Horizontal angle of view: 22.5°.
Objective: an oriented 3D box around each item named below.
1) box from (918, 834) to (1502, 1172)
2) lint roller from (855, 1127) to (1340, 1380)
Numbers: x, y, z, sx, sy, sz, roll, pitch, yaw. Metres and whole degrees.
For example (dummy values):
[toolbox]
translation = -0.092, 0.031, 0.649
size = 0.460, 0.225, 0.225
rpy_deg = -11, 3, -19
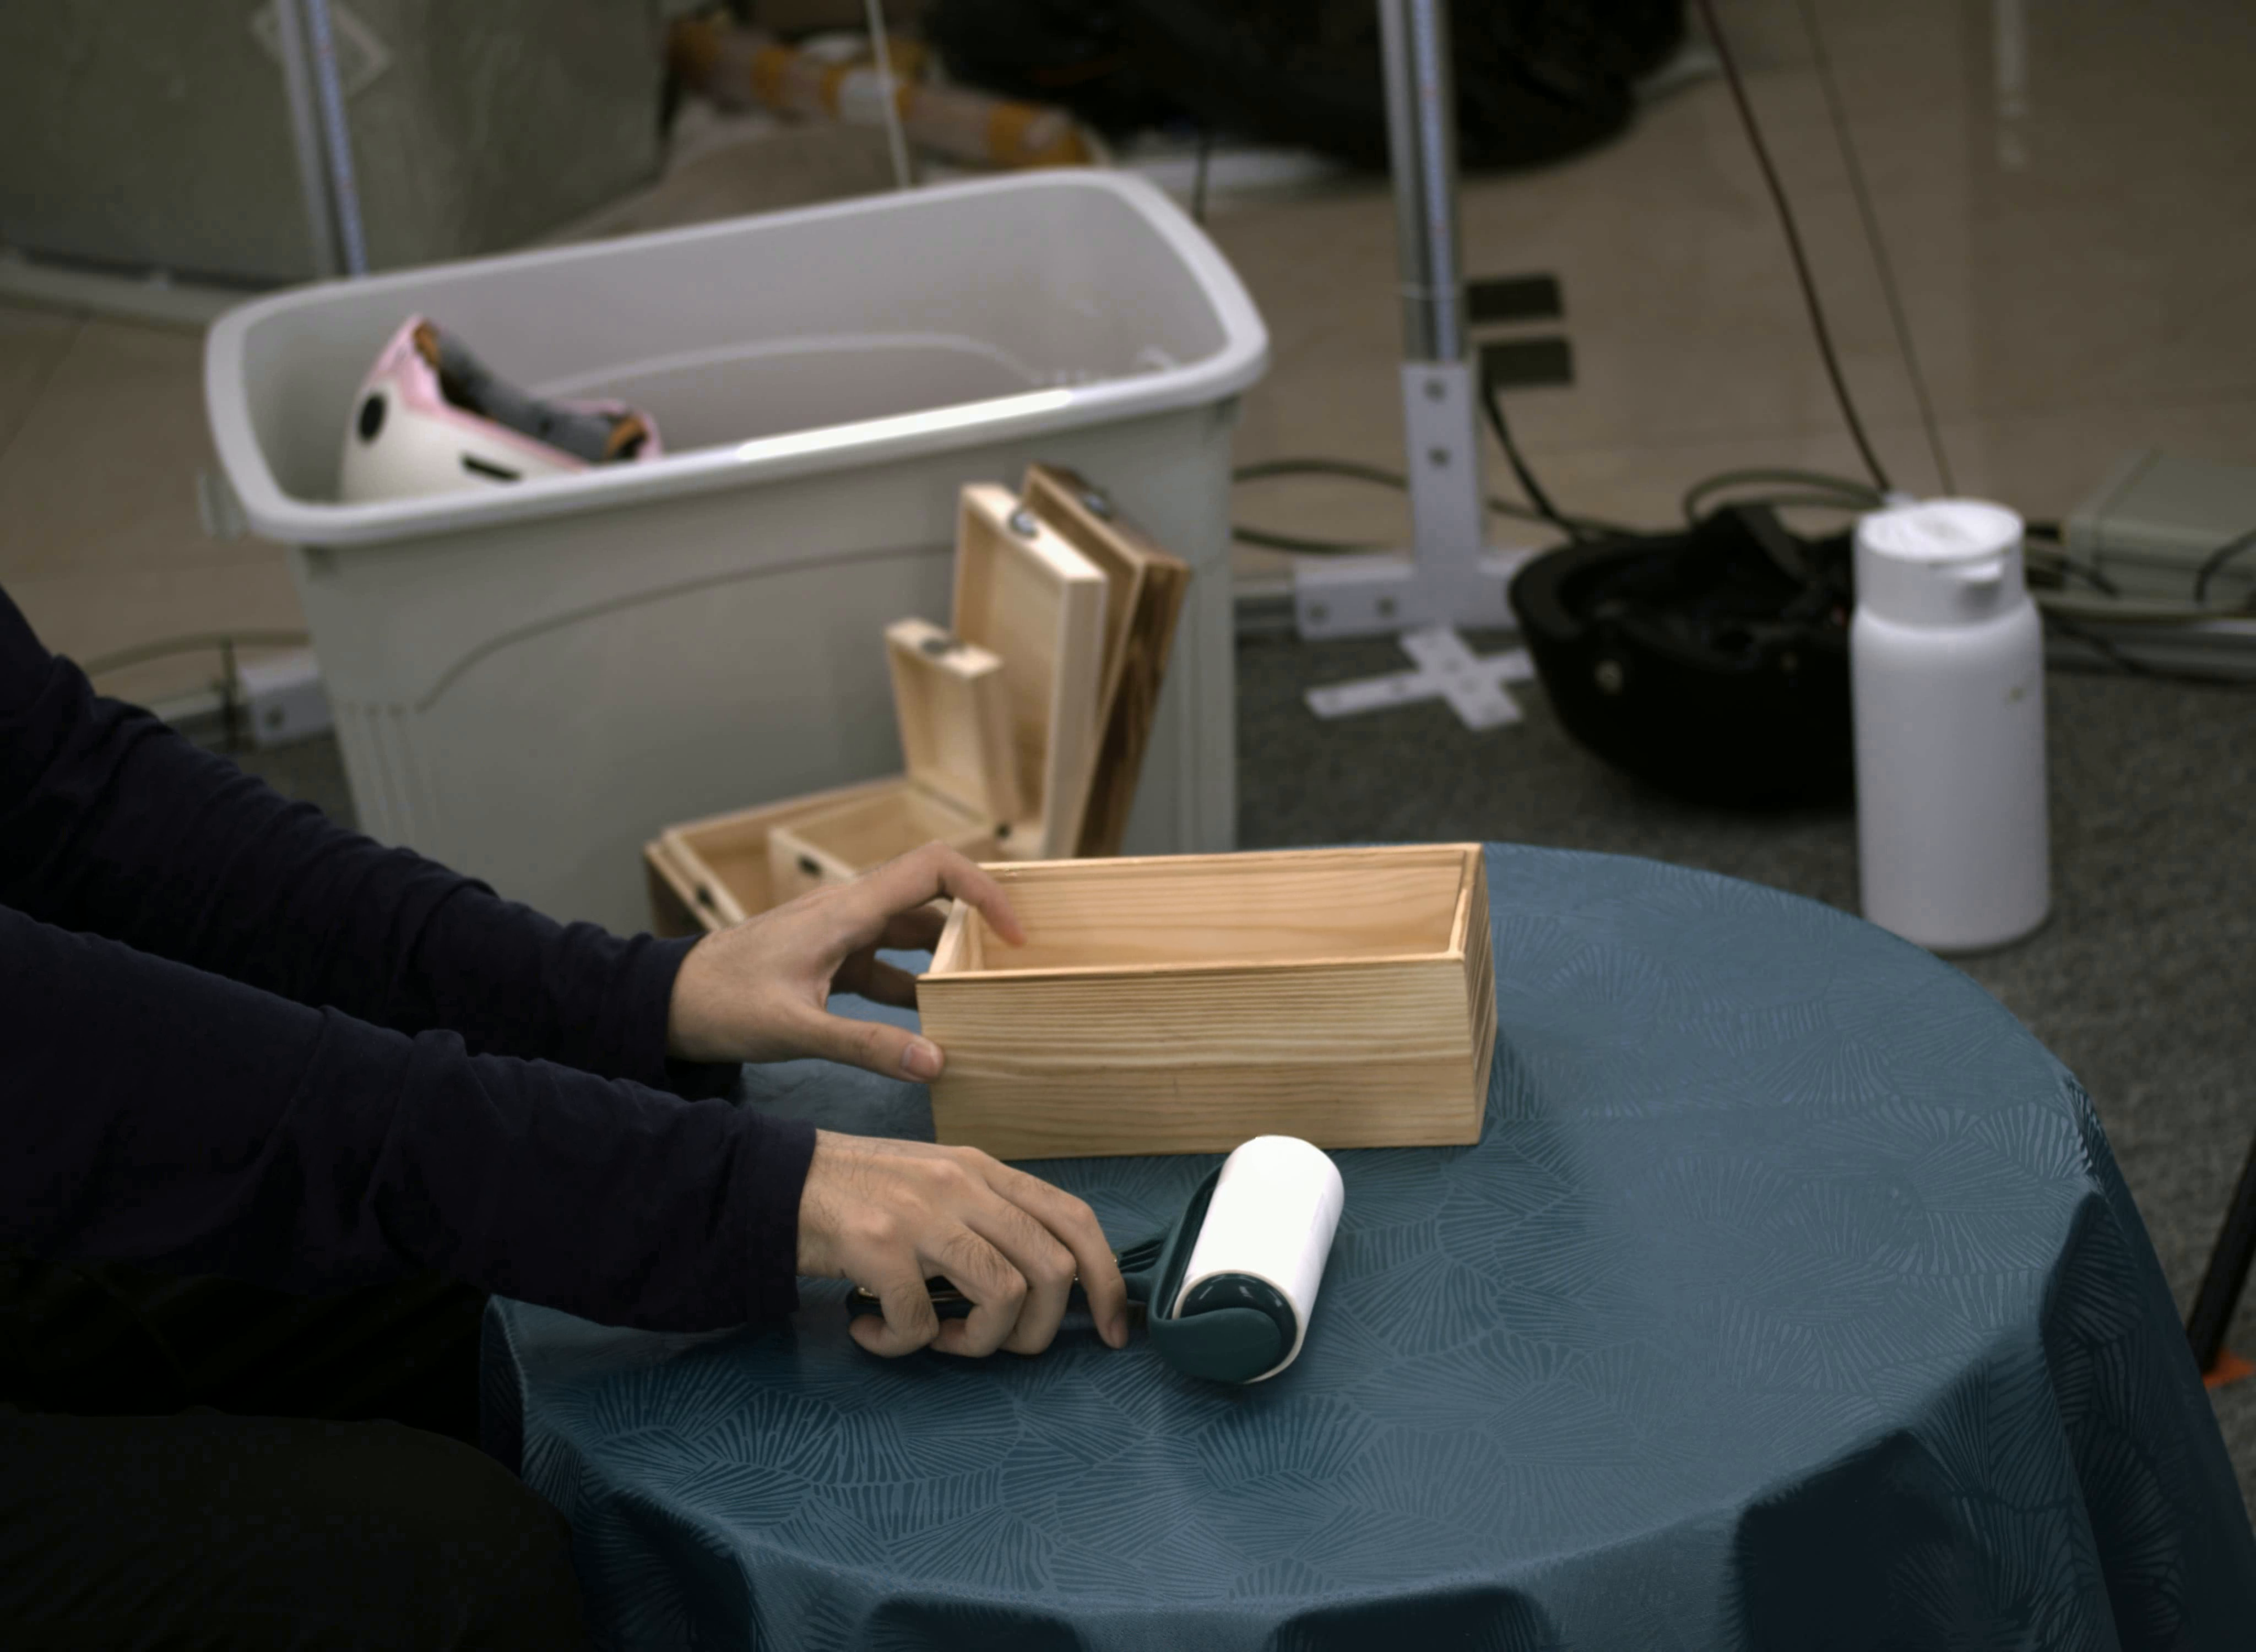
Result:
[box]
translation = 0.034, 0.068, 2.200
size = 0.211, 0.081, 0.106
rpy_deg = -4, 26, 9
[lint roller]
translation = -0.017, 0.161, 2.062
size = 0.180, 0.049, 0.132
rpy_deg = -5, 25, 14
